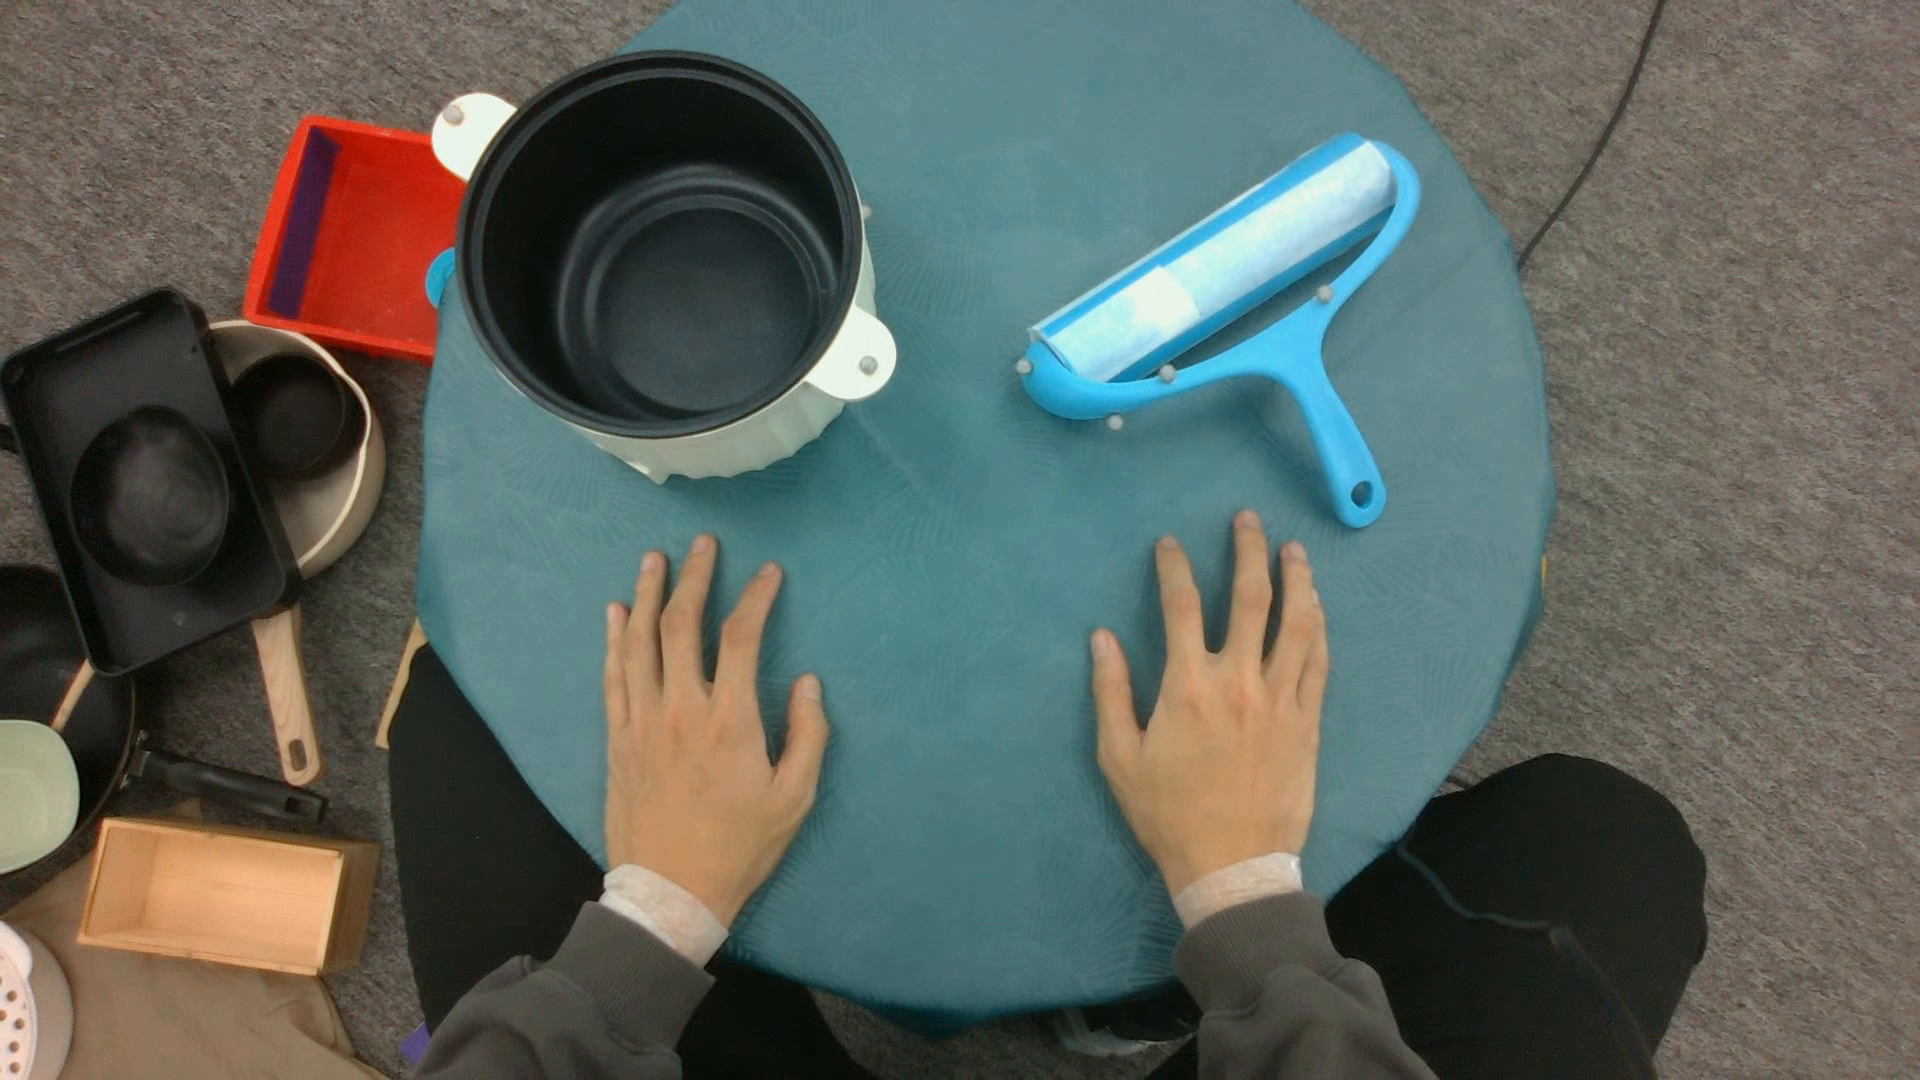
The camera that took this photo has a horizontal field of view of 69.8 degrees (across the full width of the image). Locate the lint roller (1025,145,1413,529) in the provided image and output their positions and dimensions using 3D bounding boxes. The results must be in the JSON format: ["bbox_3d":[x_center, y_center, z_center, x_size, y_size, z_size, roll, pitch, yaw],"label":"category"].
[{"bbox_3d":[0.168,-0.089,0.718,0.229,0.068,0.180,-34,79,-5],"label":"lint roller"}]

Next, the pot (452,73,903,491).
[{"bbox_3d":[-0.127,-0.124,0.695,0.240,0.142,0.190,30,86,6],"label":"pot"}]
